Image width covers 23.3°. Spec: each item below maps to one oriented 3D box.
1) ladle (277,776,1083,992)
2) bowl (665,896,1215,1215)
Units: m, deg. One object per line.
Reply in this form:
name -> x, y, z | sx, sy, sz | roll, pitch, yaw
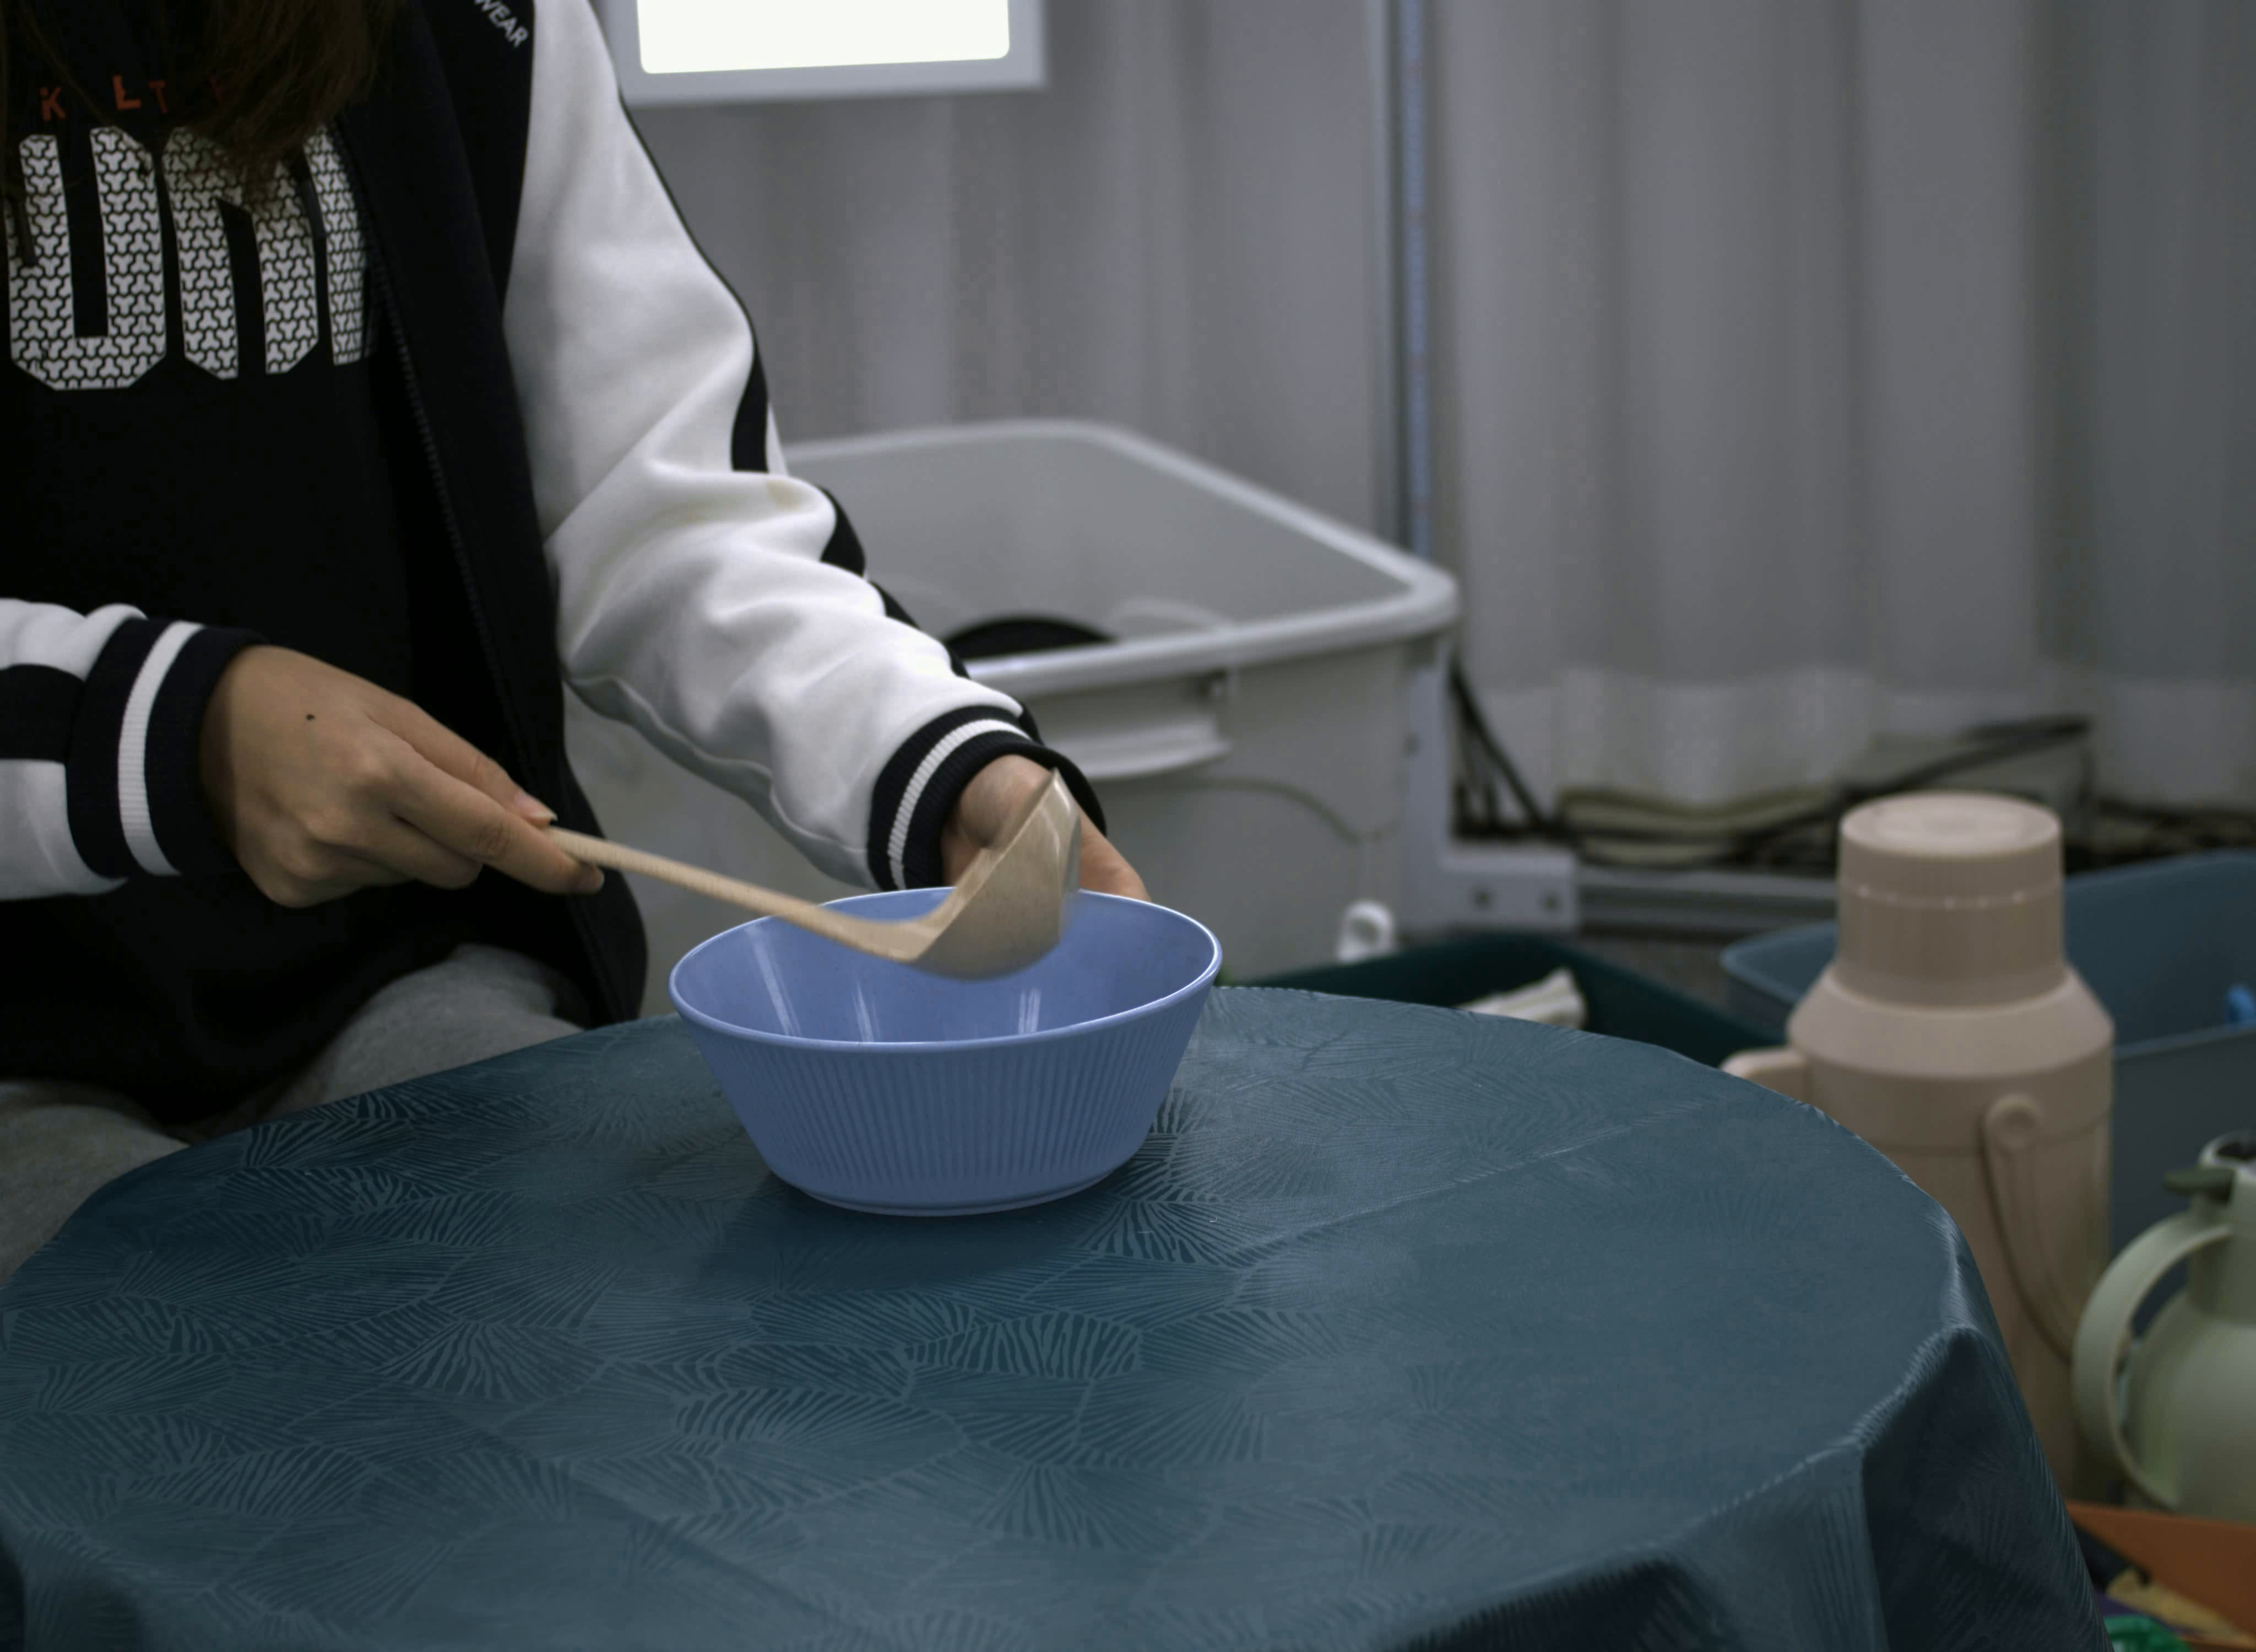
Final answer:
ladle -> -0.139, -0.006, 1.722 | 0.254, 0.072, 0.072 | 13, 18, 2
bowl -> -0.058, 0.075, 1.740 | 0.175, 0.070, 0.177 | -2, 14, 0
